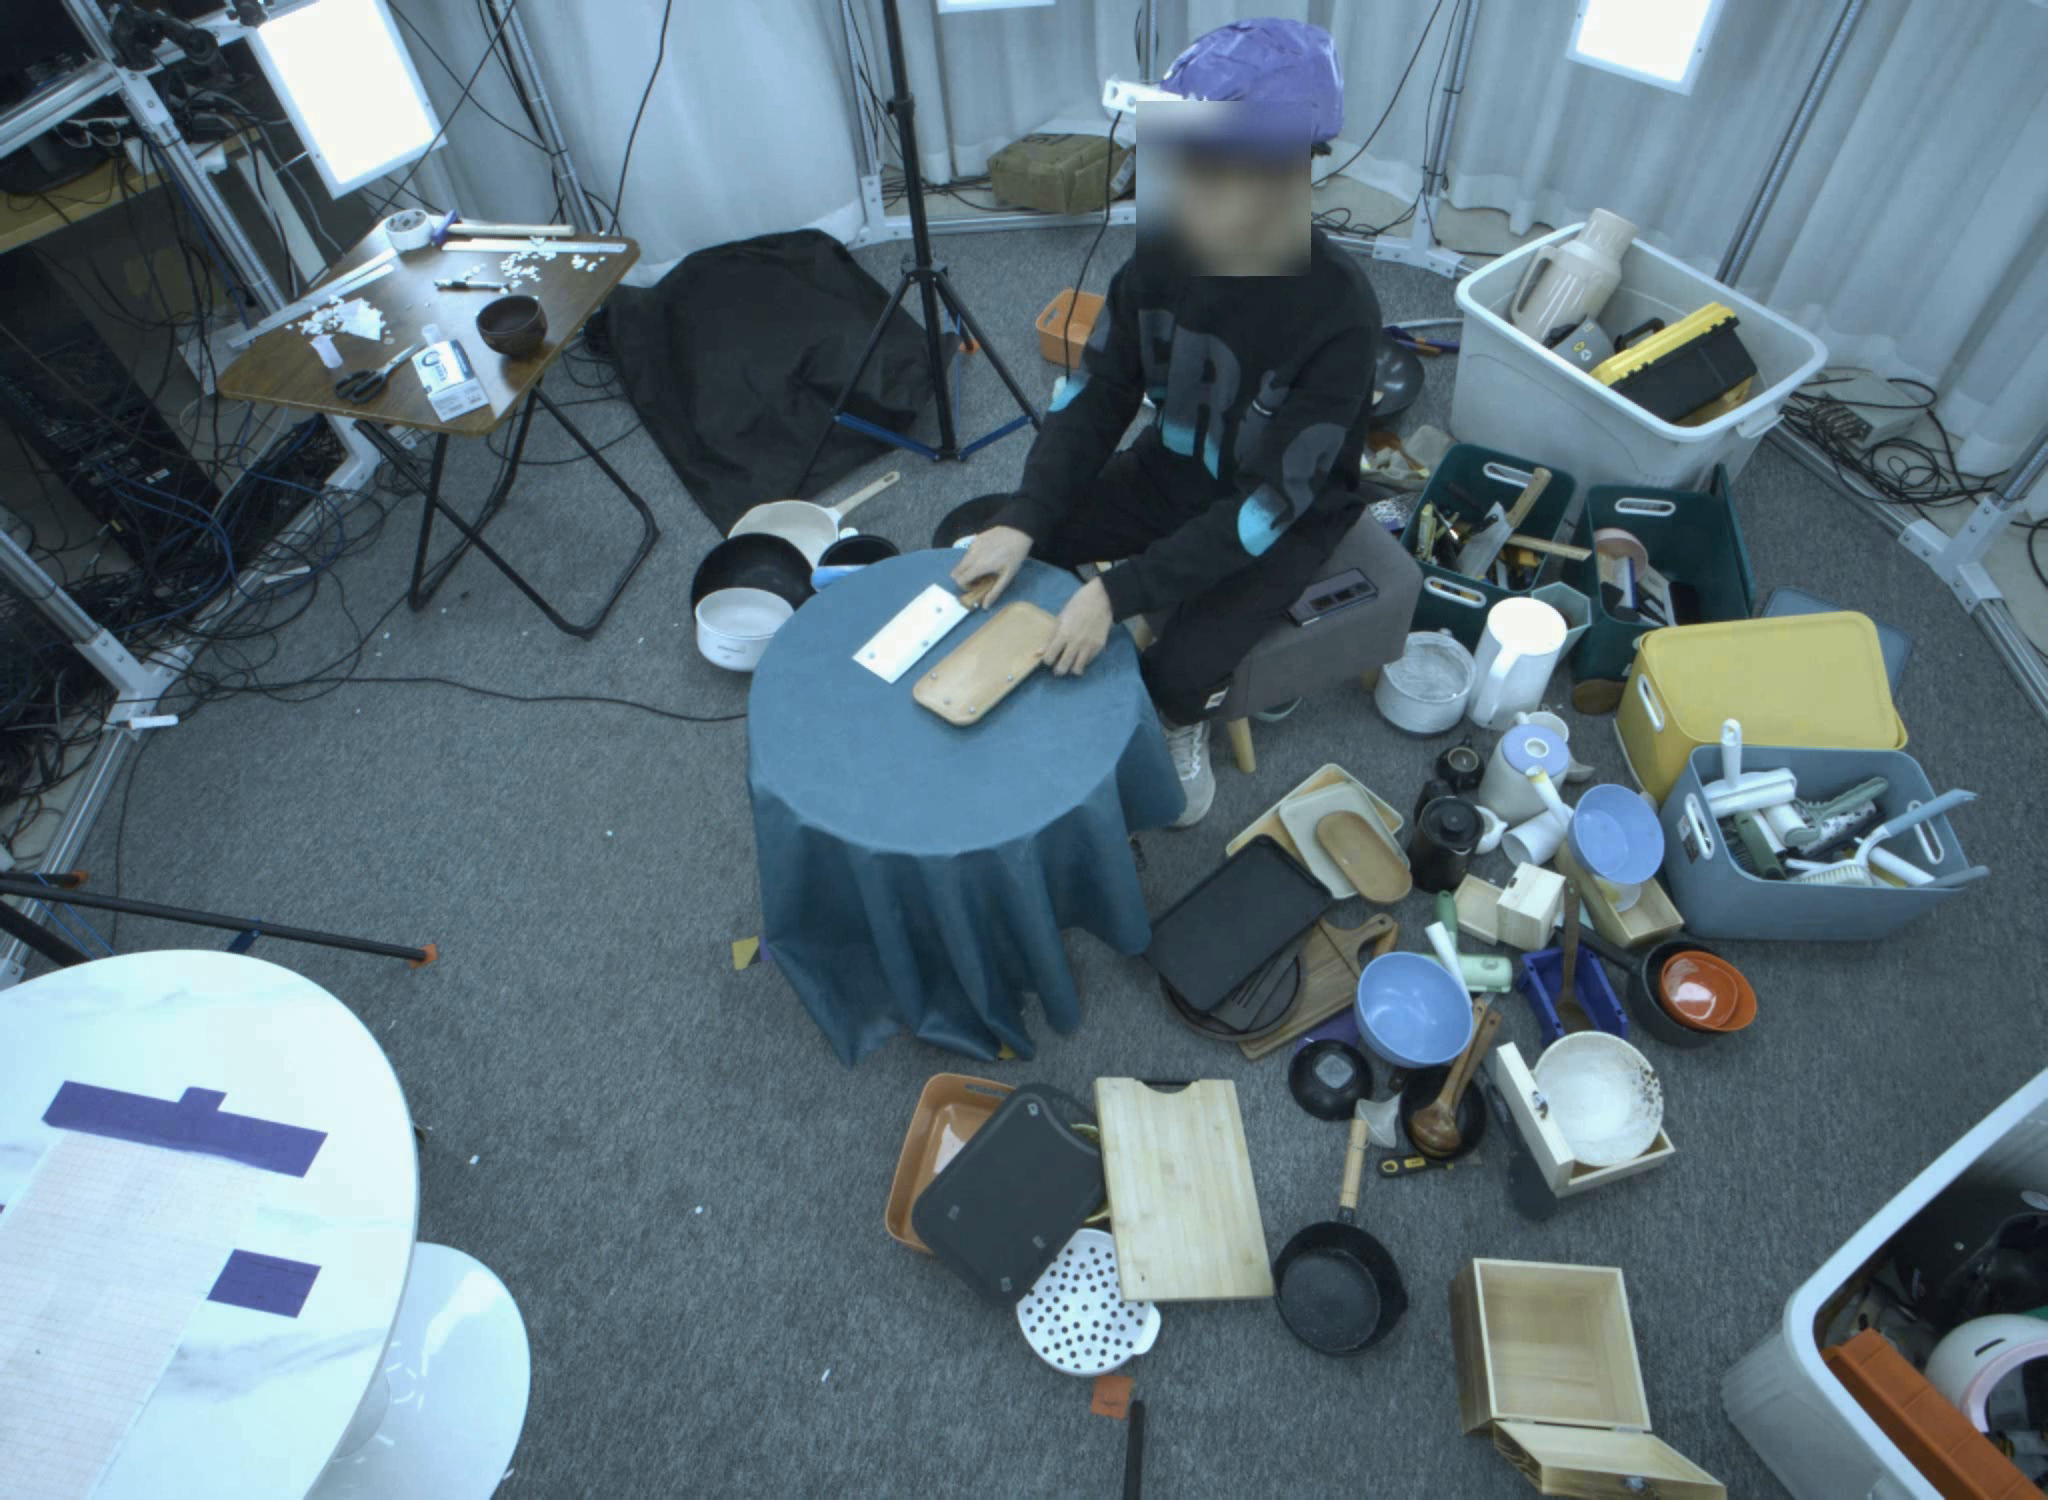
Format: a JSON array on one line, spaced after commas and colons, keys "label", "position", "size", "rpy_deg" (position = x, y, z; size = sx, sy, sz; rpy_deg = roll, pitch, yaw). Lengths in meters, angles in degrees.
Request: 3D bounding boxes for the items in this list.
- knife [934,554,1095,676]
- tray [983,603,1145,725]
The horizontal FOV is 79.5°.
[{"label": "knife", "position": [-0.018, -0.227, 1.938], "size": [0.091, 0.021, 0.307], "rpy_deg": [38, 66, 26]}, {"label": "tray", "position": [0.062, -0.131, 1.861], "size": [0.252, 0.023, 0.128], "rpy_deg": [-37, 57, -22]}]
